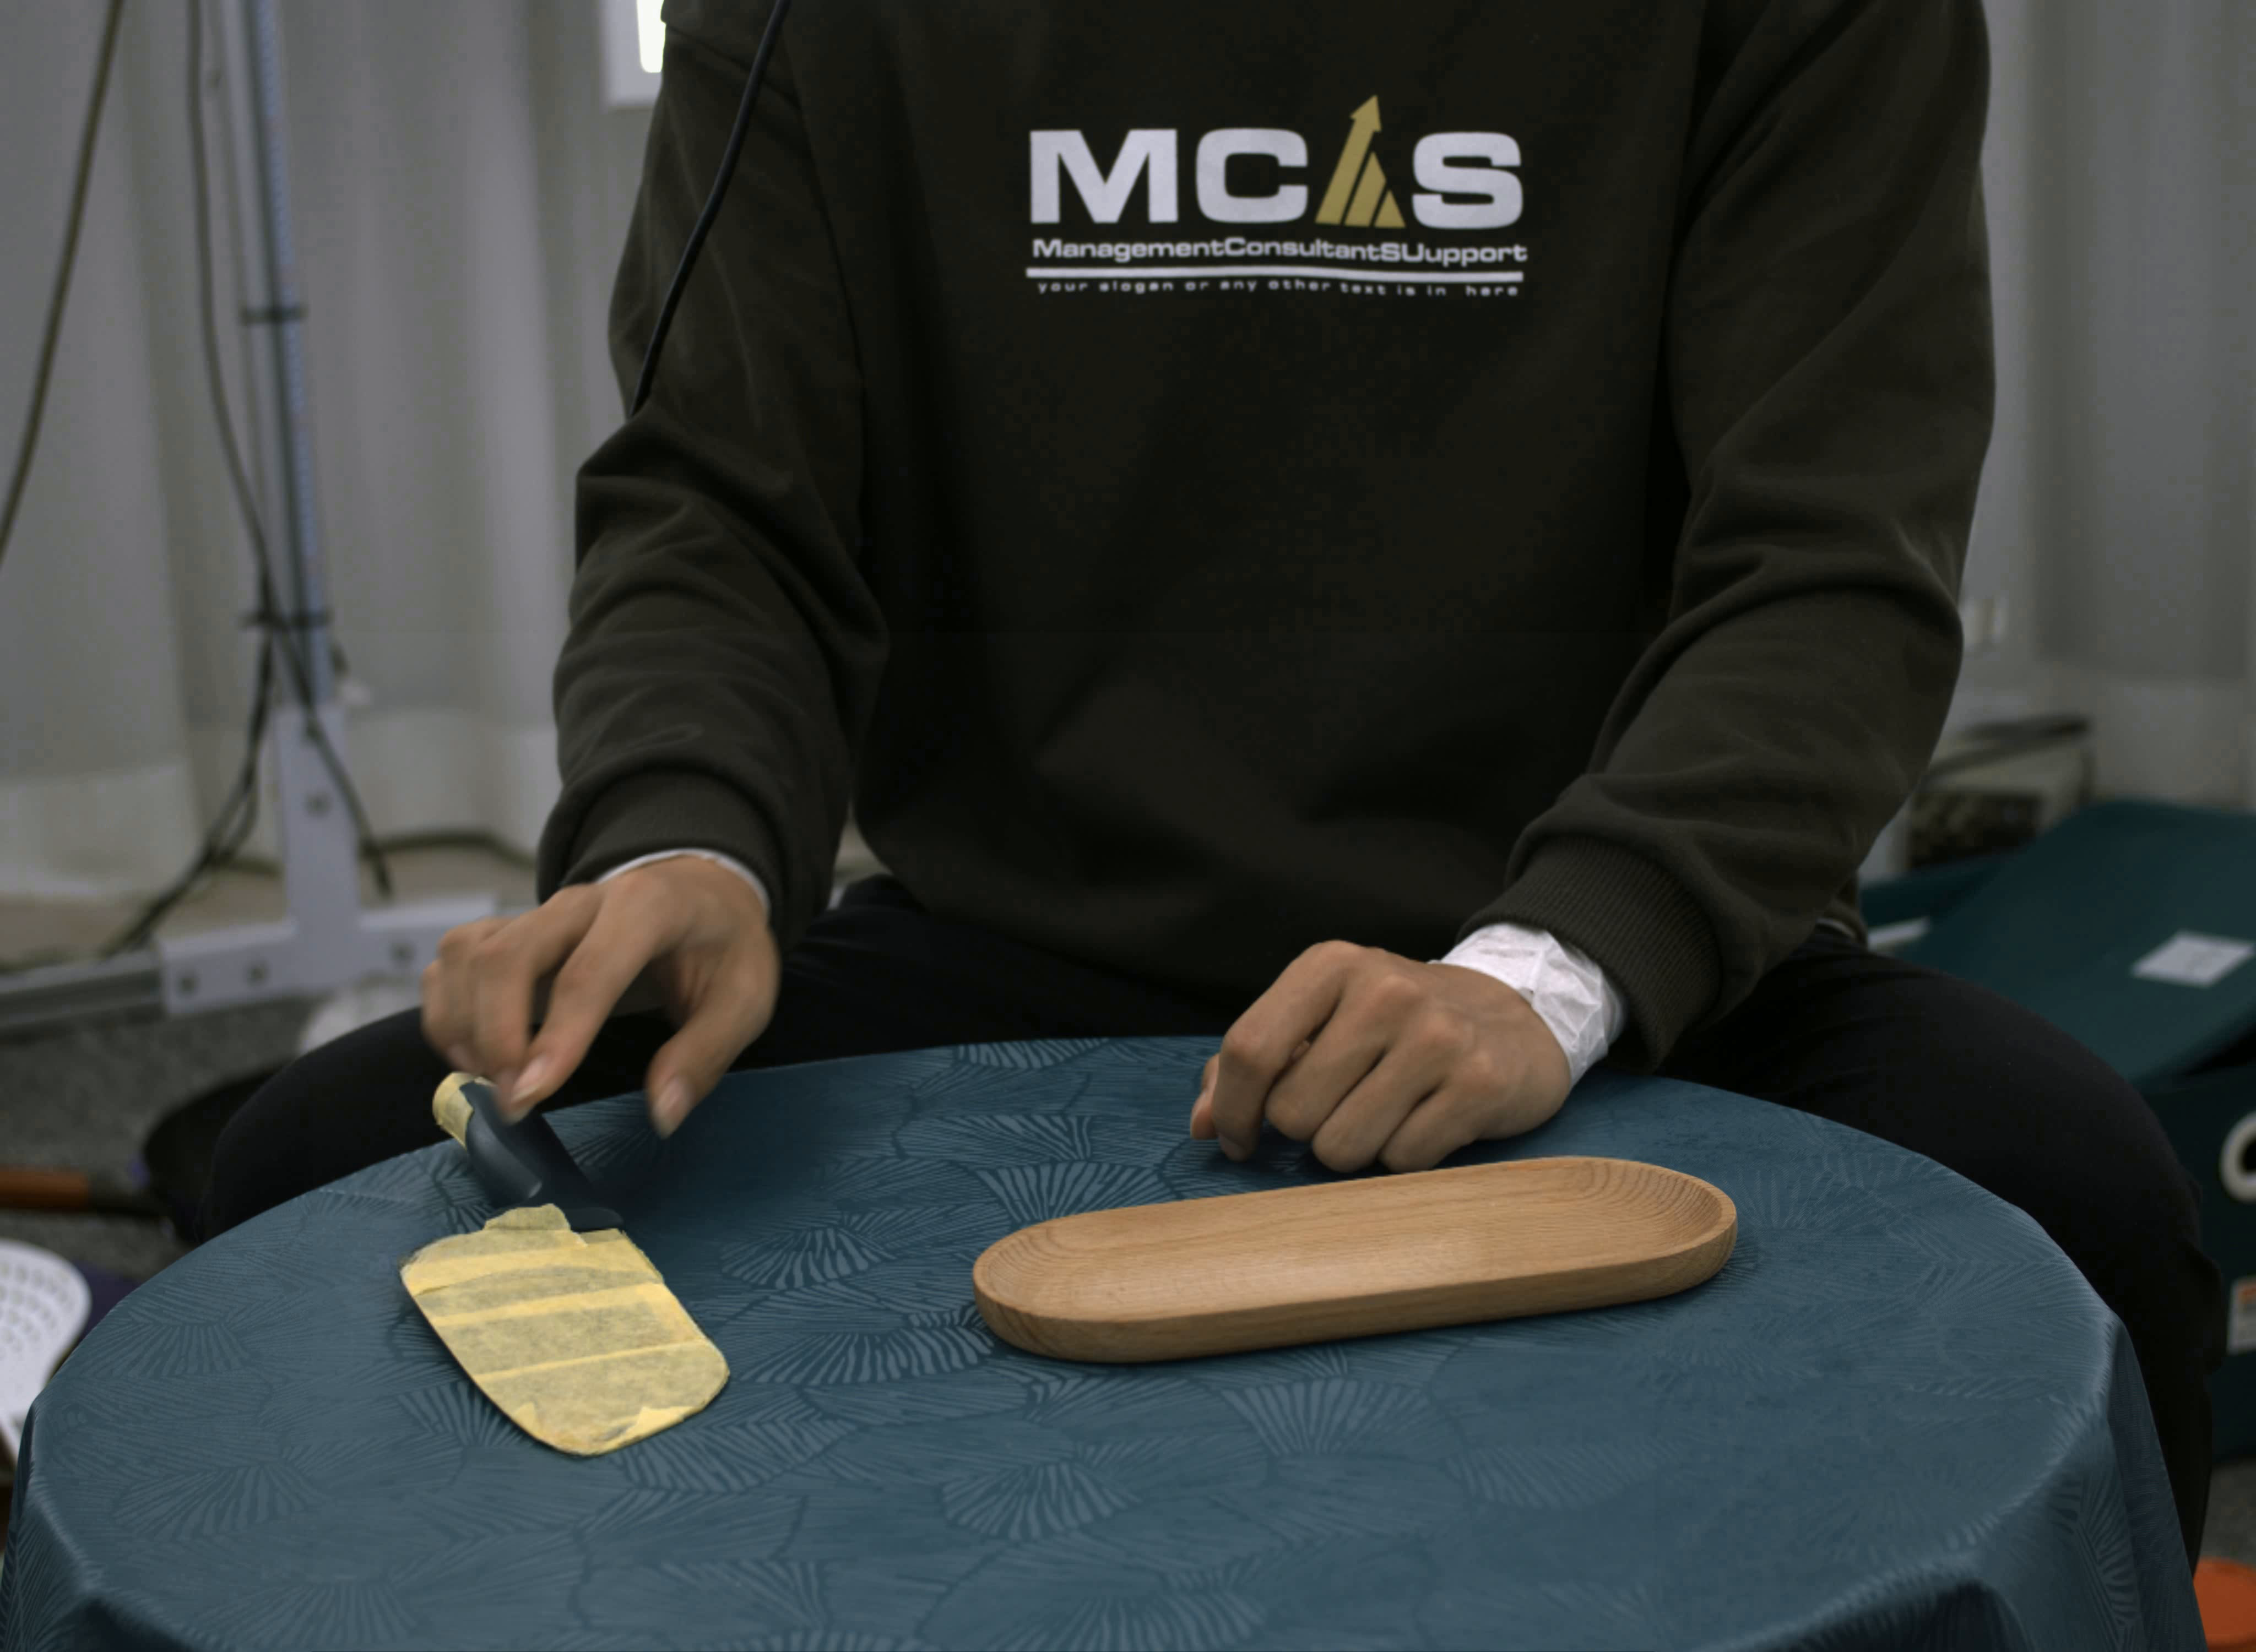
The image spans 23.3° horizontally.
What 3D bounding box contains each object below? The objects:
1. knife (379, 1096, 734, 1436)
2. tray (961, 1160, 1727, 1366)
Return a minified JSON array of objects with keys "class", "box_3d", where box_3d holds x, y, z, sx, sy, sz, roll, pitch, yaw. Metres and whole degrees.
[{"class":"knife","box_3d":[-0.183,0.133,1.653,0.080,0.027,0.292,-4,15,-18]},{"class":"tray","box_3d":[0.065,0.130,1.618,0.230,0.020,0.102,-7,14,-11]}]
